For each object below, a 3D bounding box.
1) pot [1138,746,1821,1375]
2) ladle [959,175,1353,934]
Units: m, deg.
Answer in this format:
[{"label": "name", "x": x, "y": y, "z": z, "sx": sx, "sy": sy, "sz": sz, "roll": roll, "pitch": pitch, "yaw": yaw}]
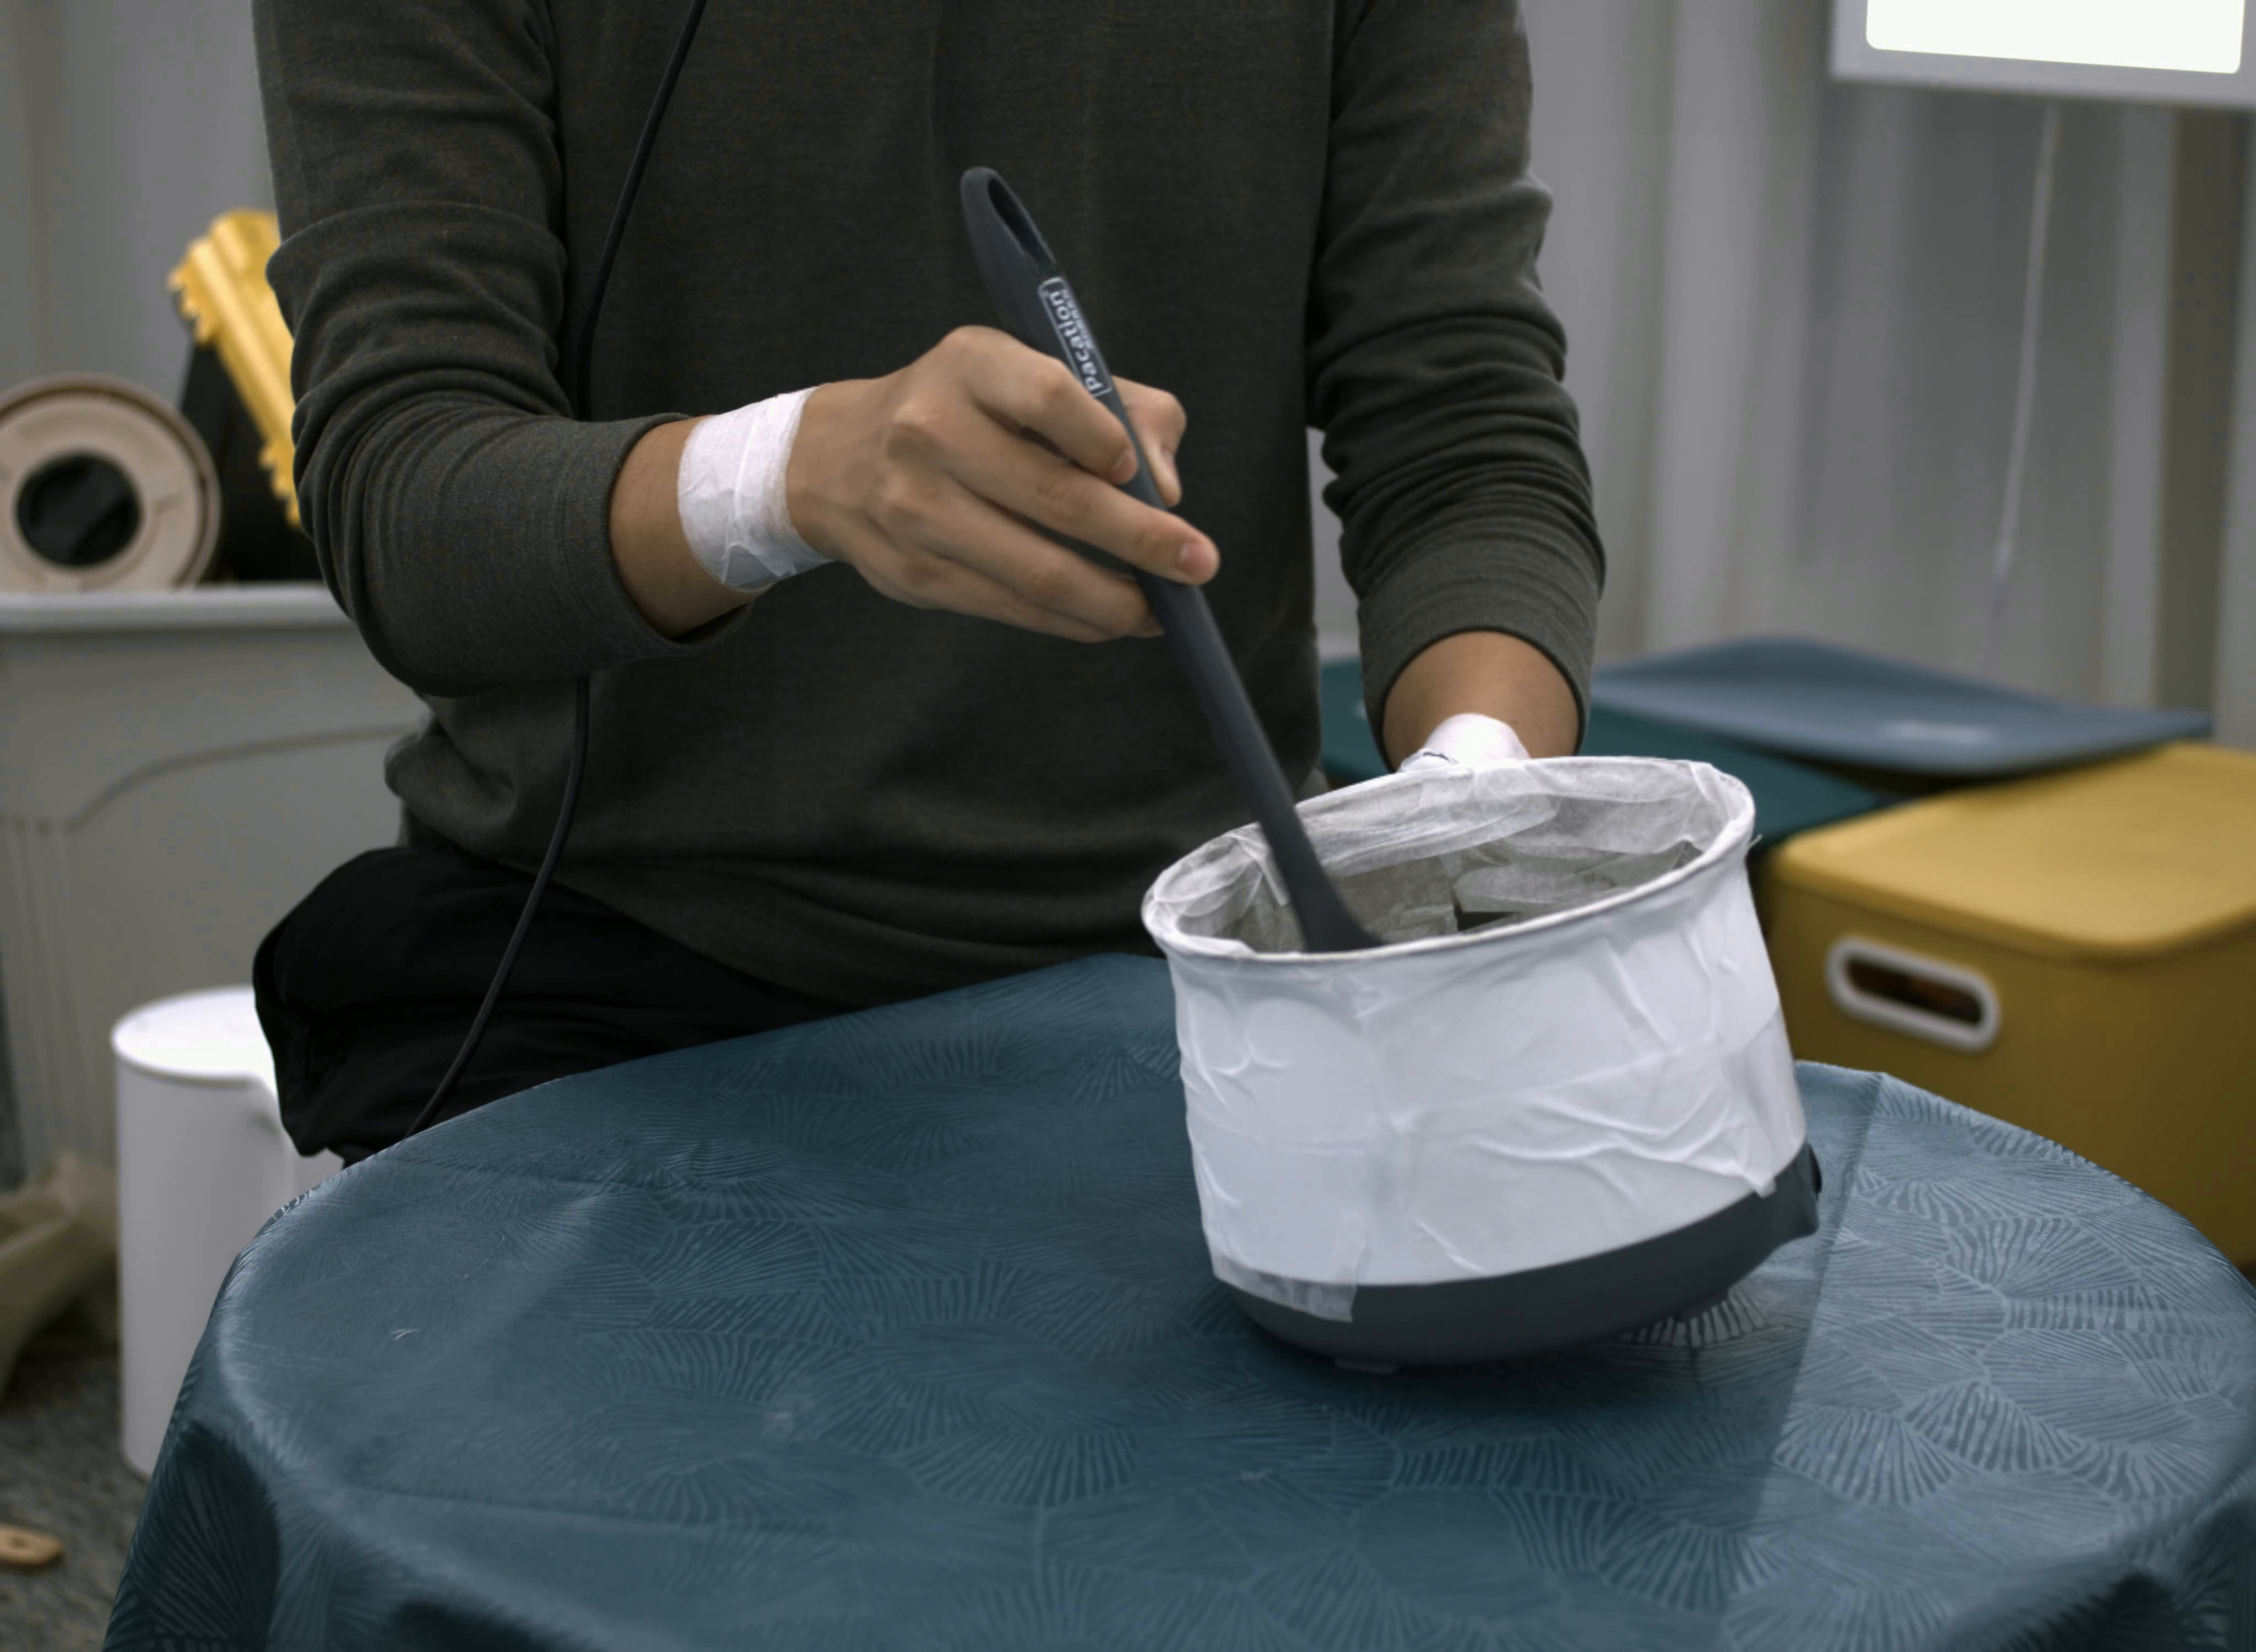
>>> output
[{"label": "pot", "x": 0.101, "y": 0.060, "z": 1.528, "sx": 0.178, "sy": 0.138, "sz": 0.232, "roll": -10, "pitch": 15, "yaw": 1}, {"label": "ladle", "x": 0.036, "y": -0.053, "z": 1.510, "sx": 0.063, "sy": 0.315, "sz": 0.086, "roll": -24, "pitch": 1, "yaw": 40}]
